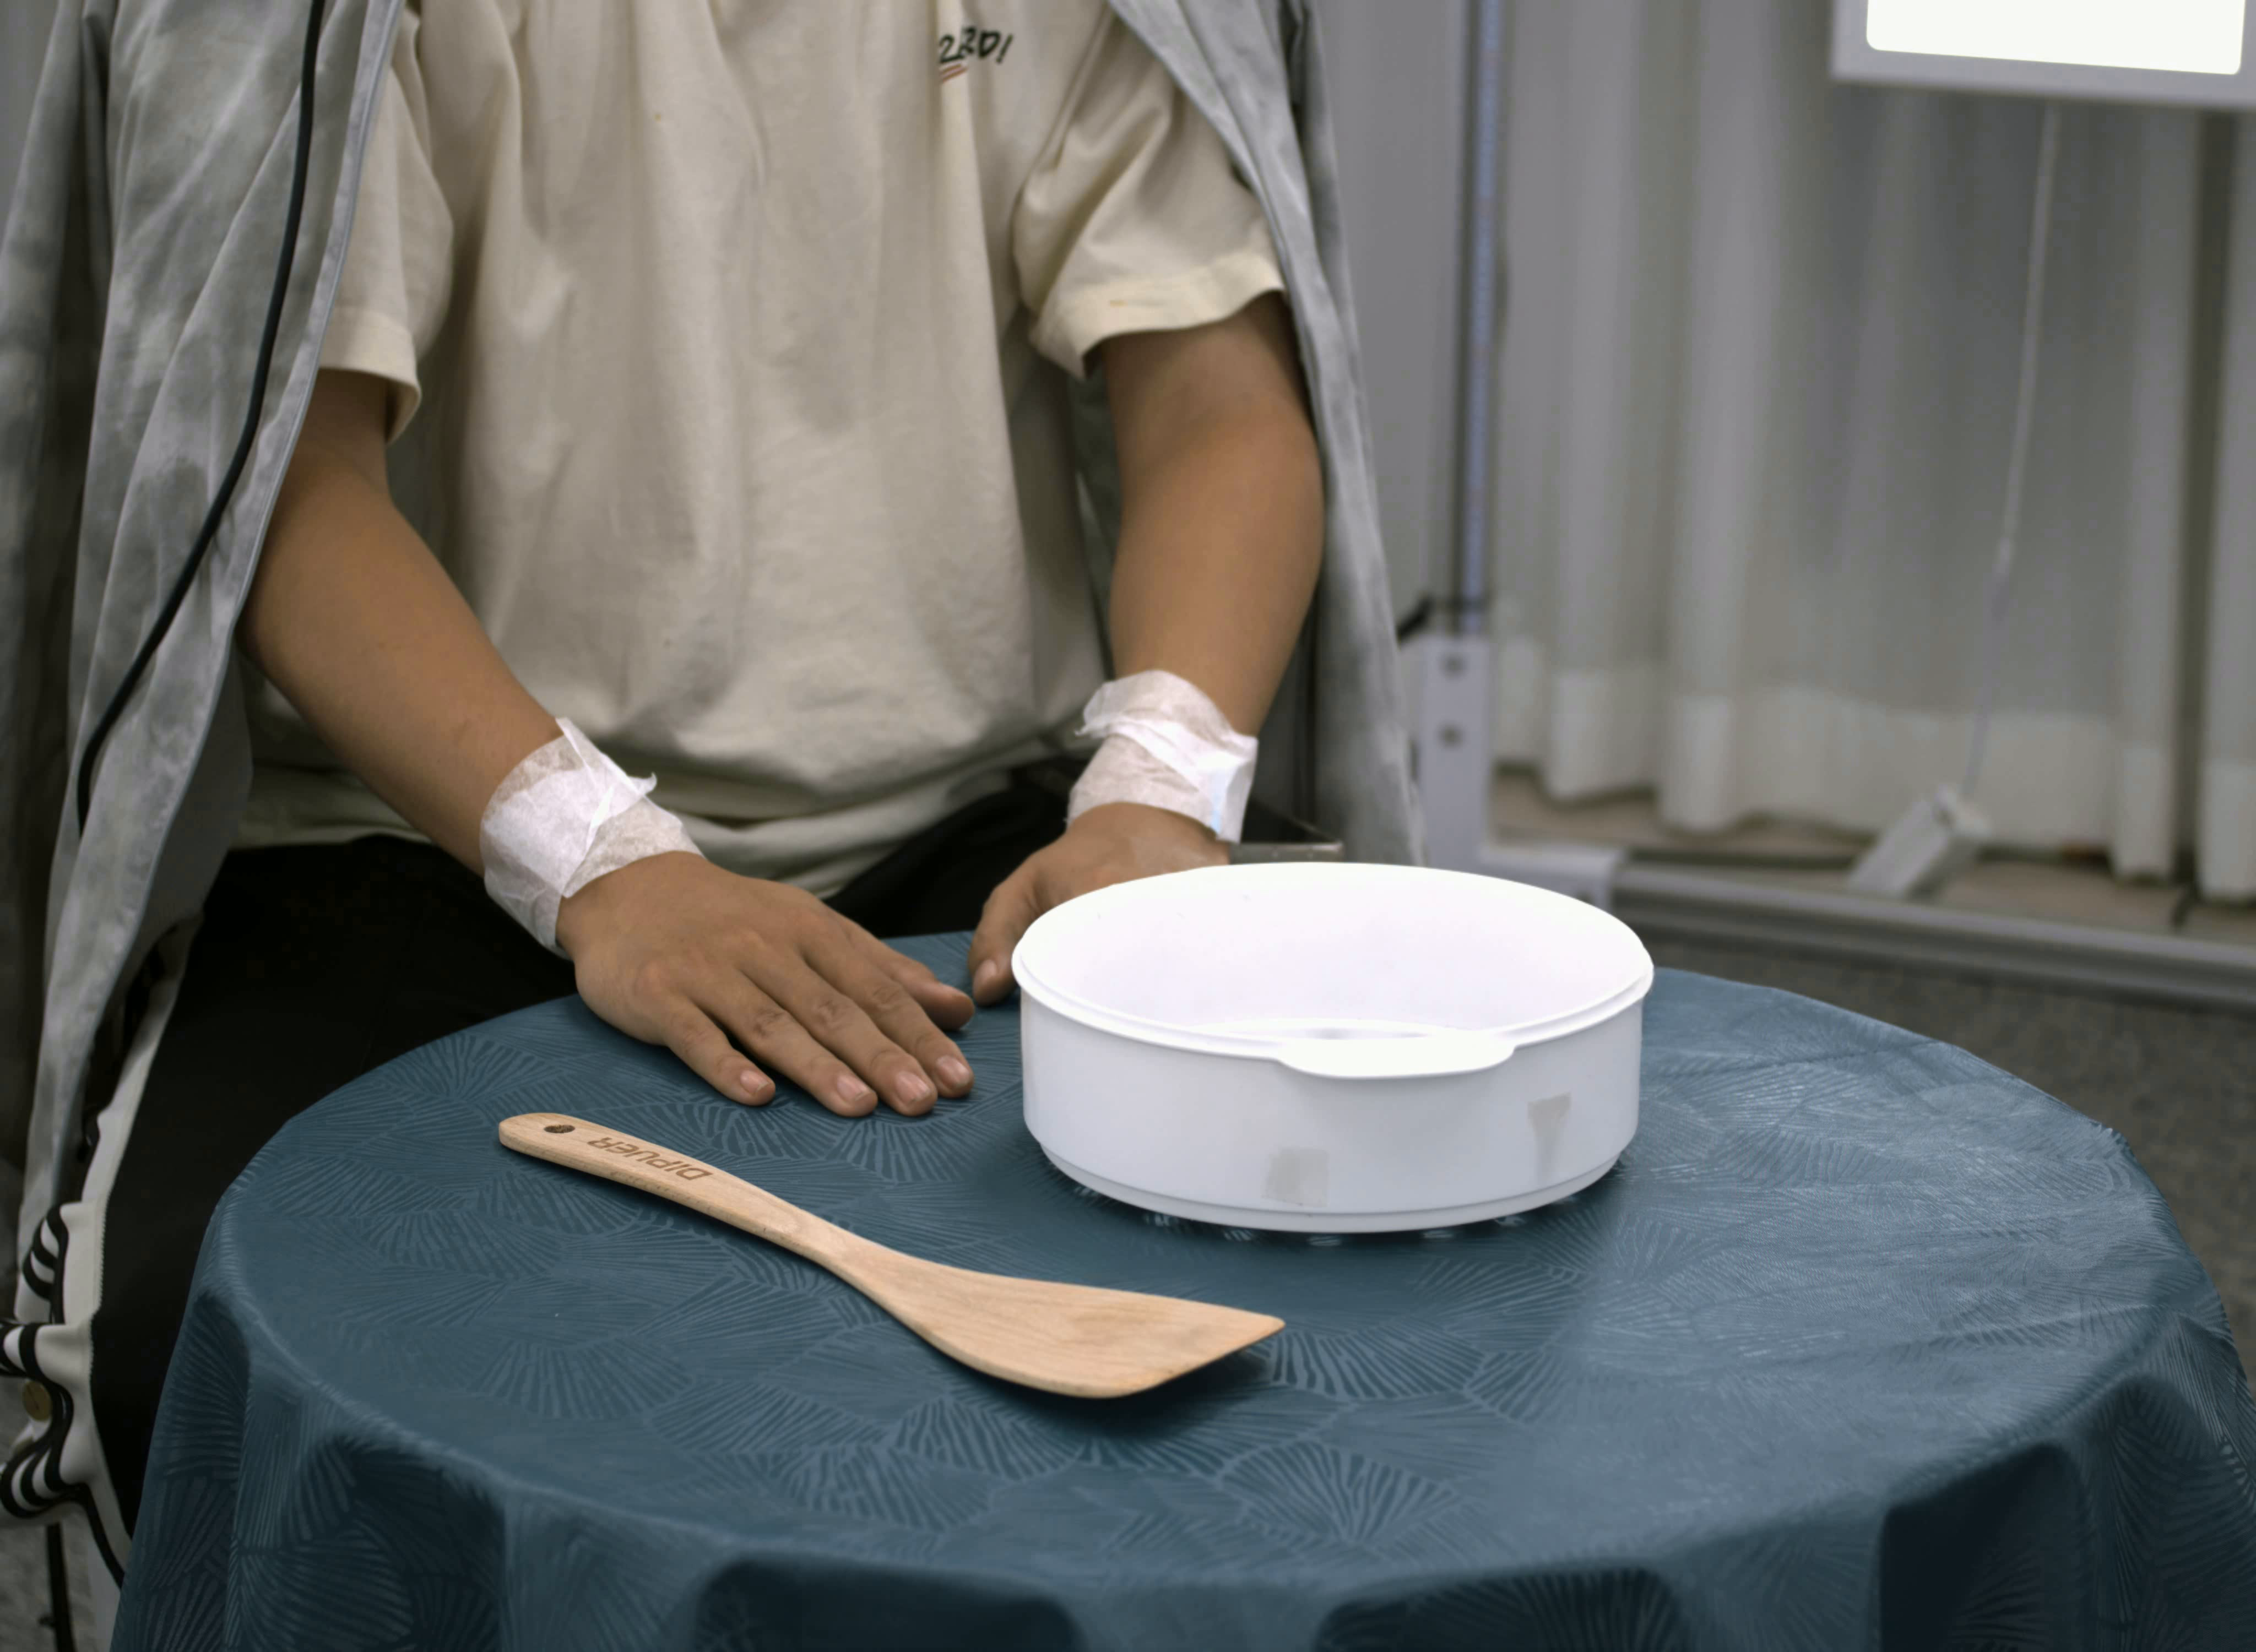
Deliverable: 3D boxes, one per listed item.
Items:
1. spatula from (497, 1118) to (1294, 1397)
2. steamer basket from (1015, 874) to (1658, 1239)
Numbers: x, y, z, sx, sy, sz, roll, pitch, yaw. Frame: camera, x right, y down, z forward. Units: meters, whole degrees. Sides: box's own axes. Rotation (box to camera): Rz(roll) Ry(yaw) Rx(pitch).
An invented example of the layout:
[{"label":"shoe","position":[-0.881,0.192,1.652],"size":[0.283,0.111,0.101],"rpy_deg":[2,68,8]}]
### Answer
[{"label":"spatula","position":[-0.082,0.122,1.555],"size":[0.080,0.016,0.323],"rpy_deg":[-13,20,-42]},{"label":"steamer basket","position":[0.064,0.072,1.652],"size":[0.202,0.070,0.228],"rpy_deg":[-1,15,-10]}]
